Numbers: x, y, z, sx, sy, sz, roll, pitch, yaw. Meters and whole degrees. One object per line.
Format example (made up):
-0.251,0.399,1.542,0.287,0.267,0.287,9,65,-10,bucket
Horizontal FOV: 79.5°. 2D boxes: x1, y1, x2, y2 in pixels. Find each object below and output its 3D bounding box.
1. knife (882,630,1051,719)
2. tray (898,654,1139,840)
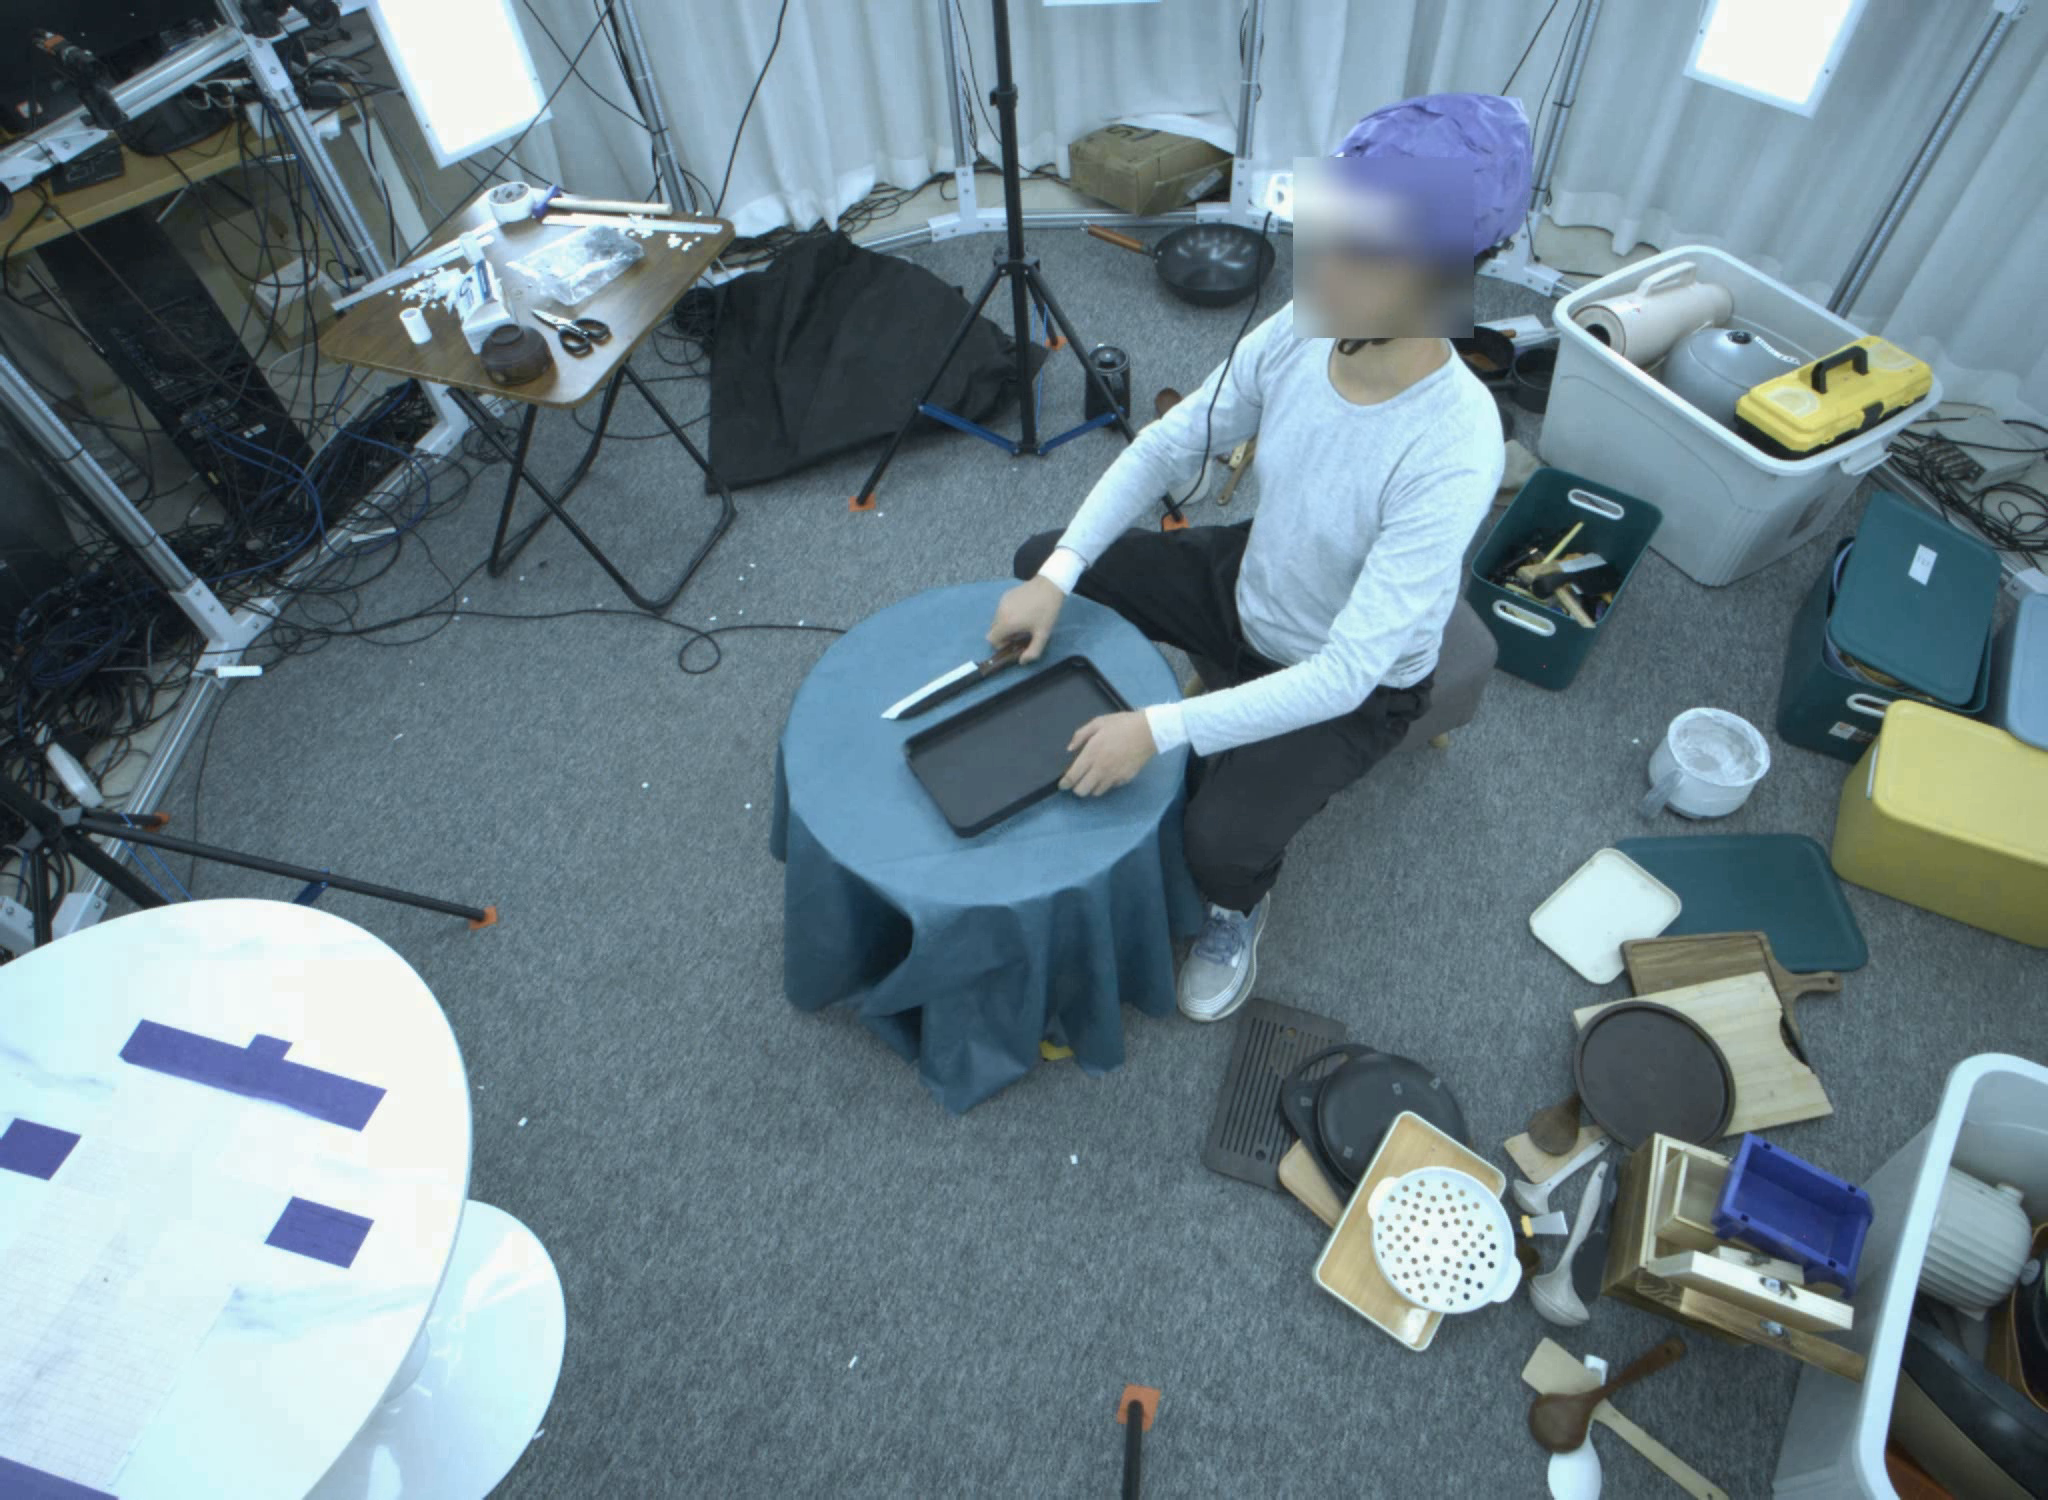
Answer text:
-0.087,-0.113,1.868,0.291,0.020,0.049,-28,47,-14,knife
-0.007,-0.009,1.780,0.320,0.037,0.181,-29,59,-19,tray
